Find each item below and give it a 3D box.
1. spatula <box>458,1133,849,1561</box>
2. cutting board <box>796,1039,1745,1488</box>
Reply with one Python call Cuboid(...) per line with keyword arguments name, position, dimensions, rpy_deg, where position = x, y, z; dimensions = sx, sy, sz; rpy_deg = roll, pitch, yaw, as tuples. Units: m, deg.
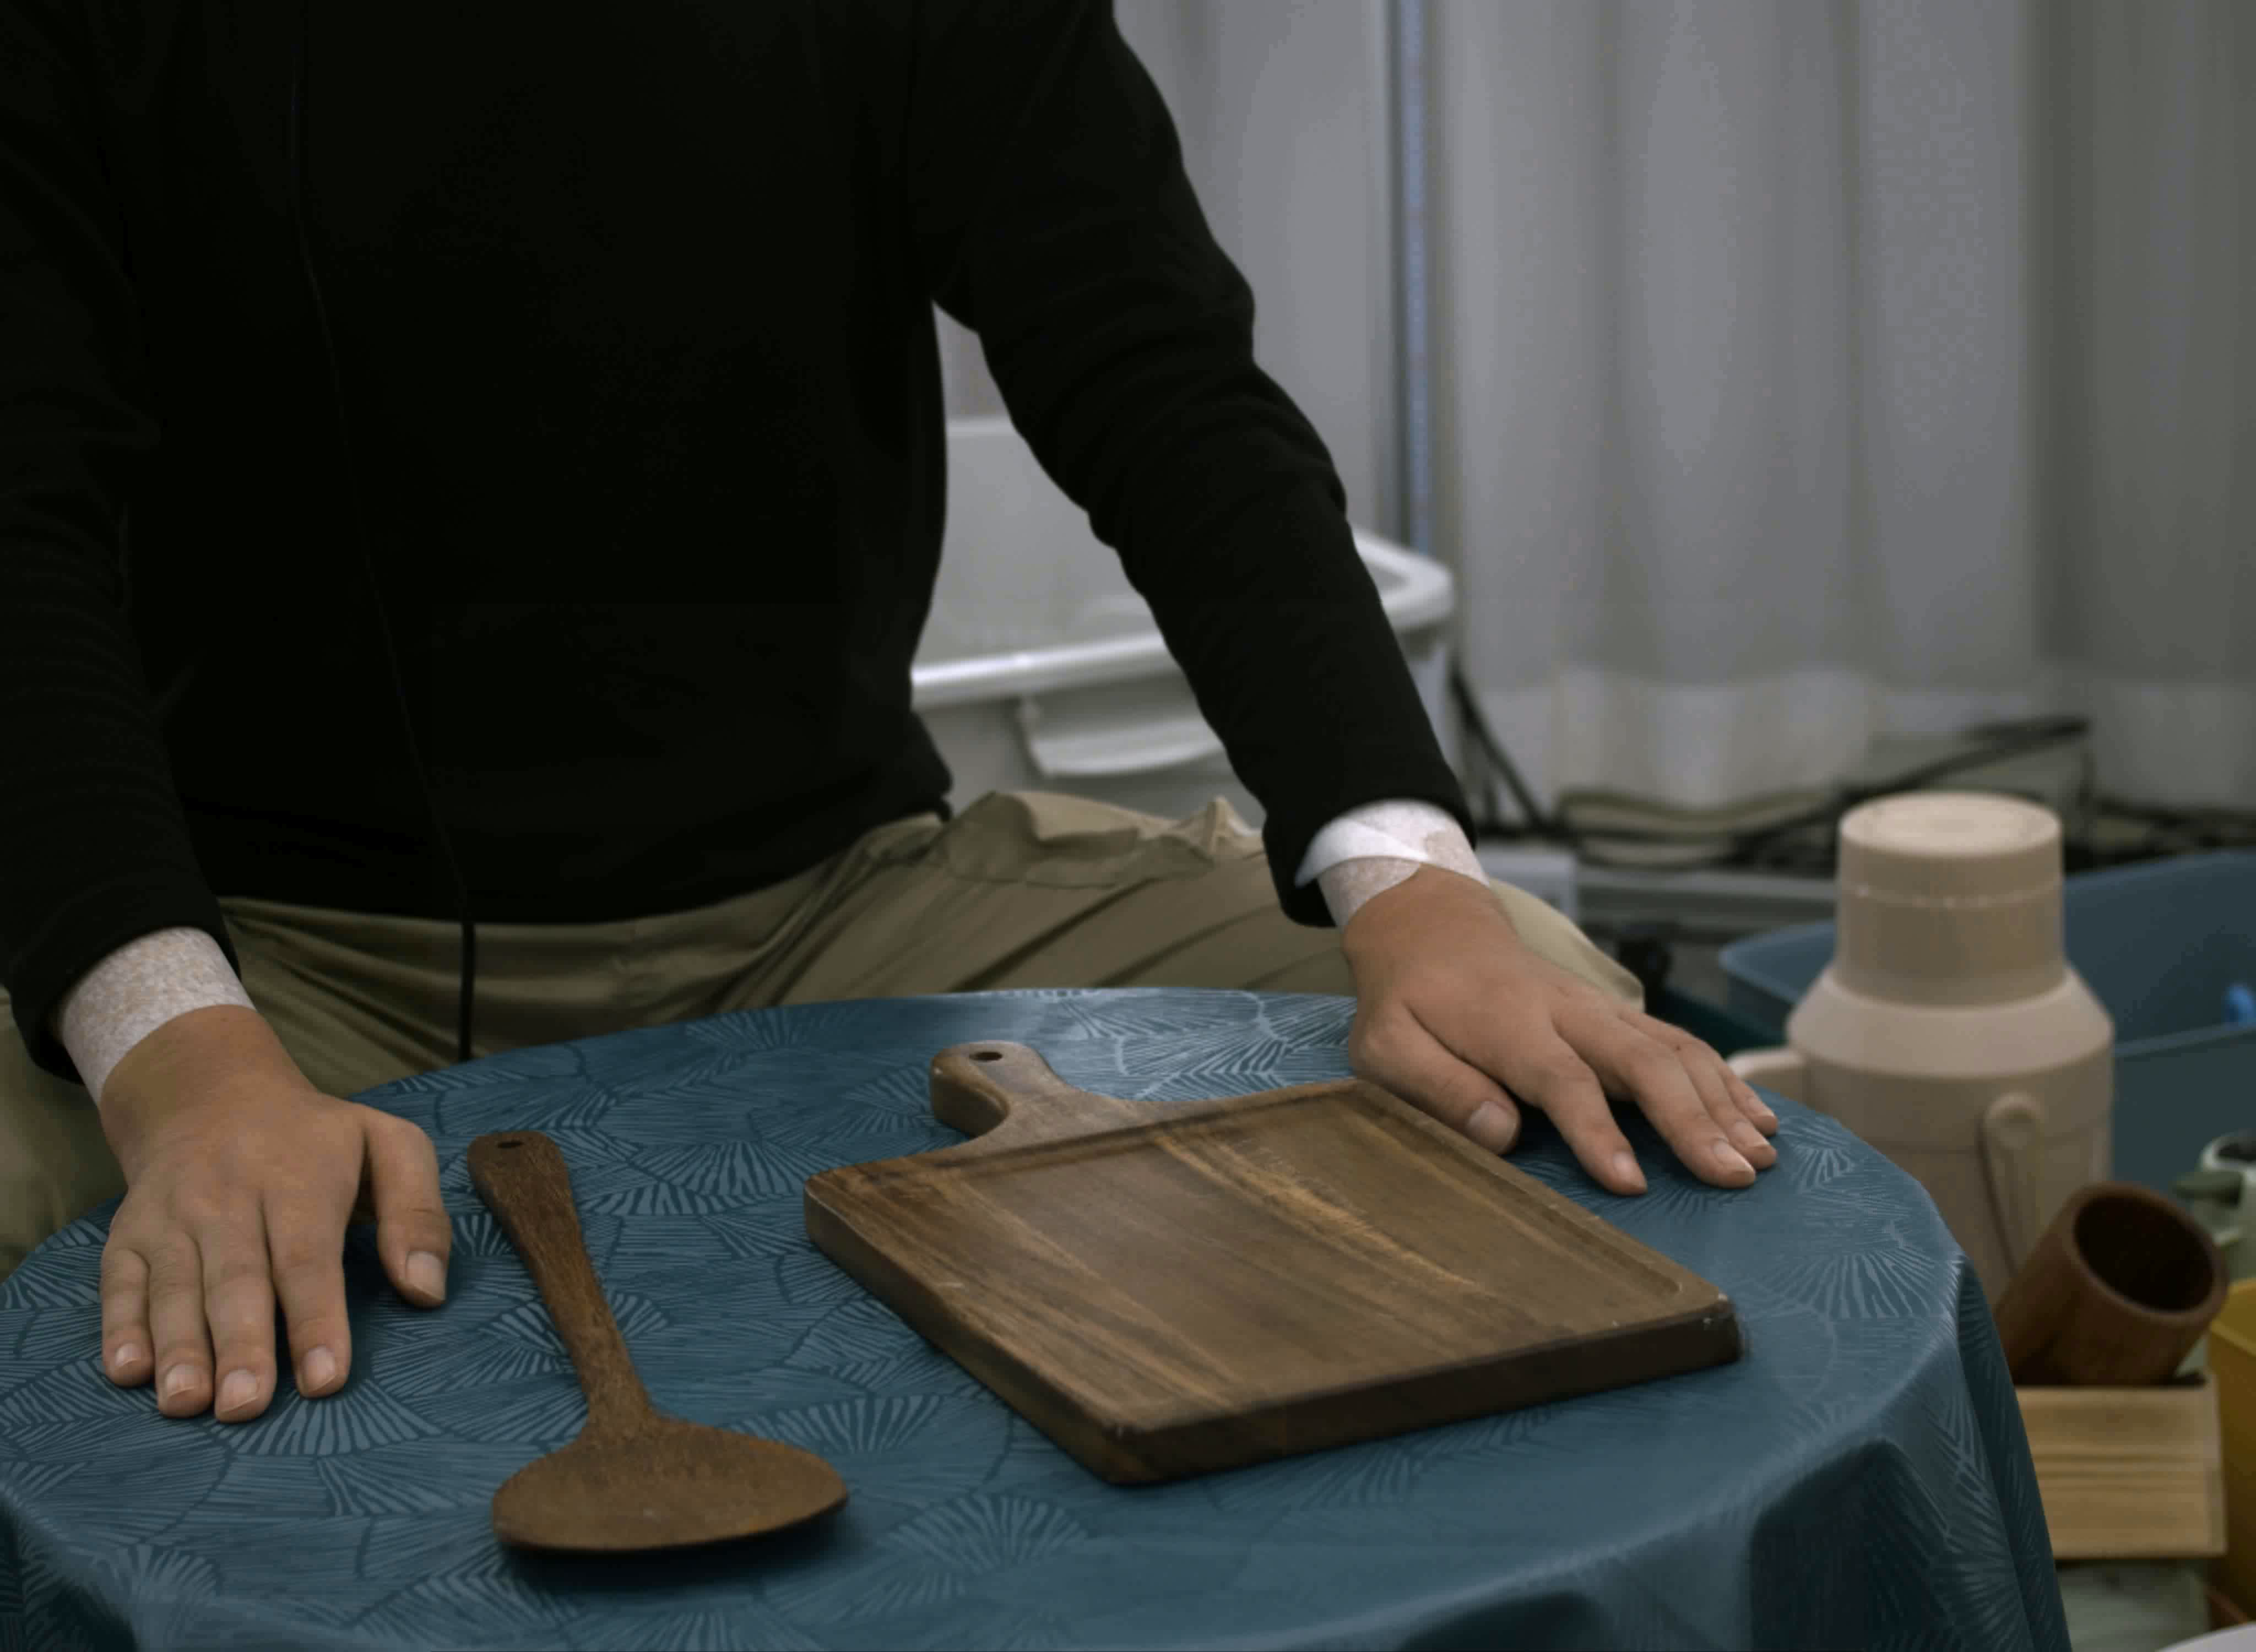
Cuboid(name="spatula", position=(-0.160, 0.145, 1.601), dimensions=(0.095, 0.016, 0.389), rpy_deg=(-6, 15, -13))
Cuboid(name="cutting board", position=(0.016, 0.118, 1.657), dimensions=(0.200, 0.023, 0.355), rpy_deg=(-9, 16, -23))
